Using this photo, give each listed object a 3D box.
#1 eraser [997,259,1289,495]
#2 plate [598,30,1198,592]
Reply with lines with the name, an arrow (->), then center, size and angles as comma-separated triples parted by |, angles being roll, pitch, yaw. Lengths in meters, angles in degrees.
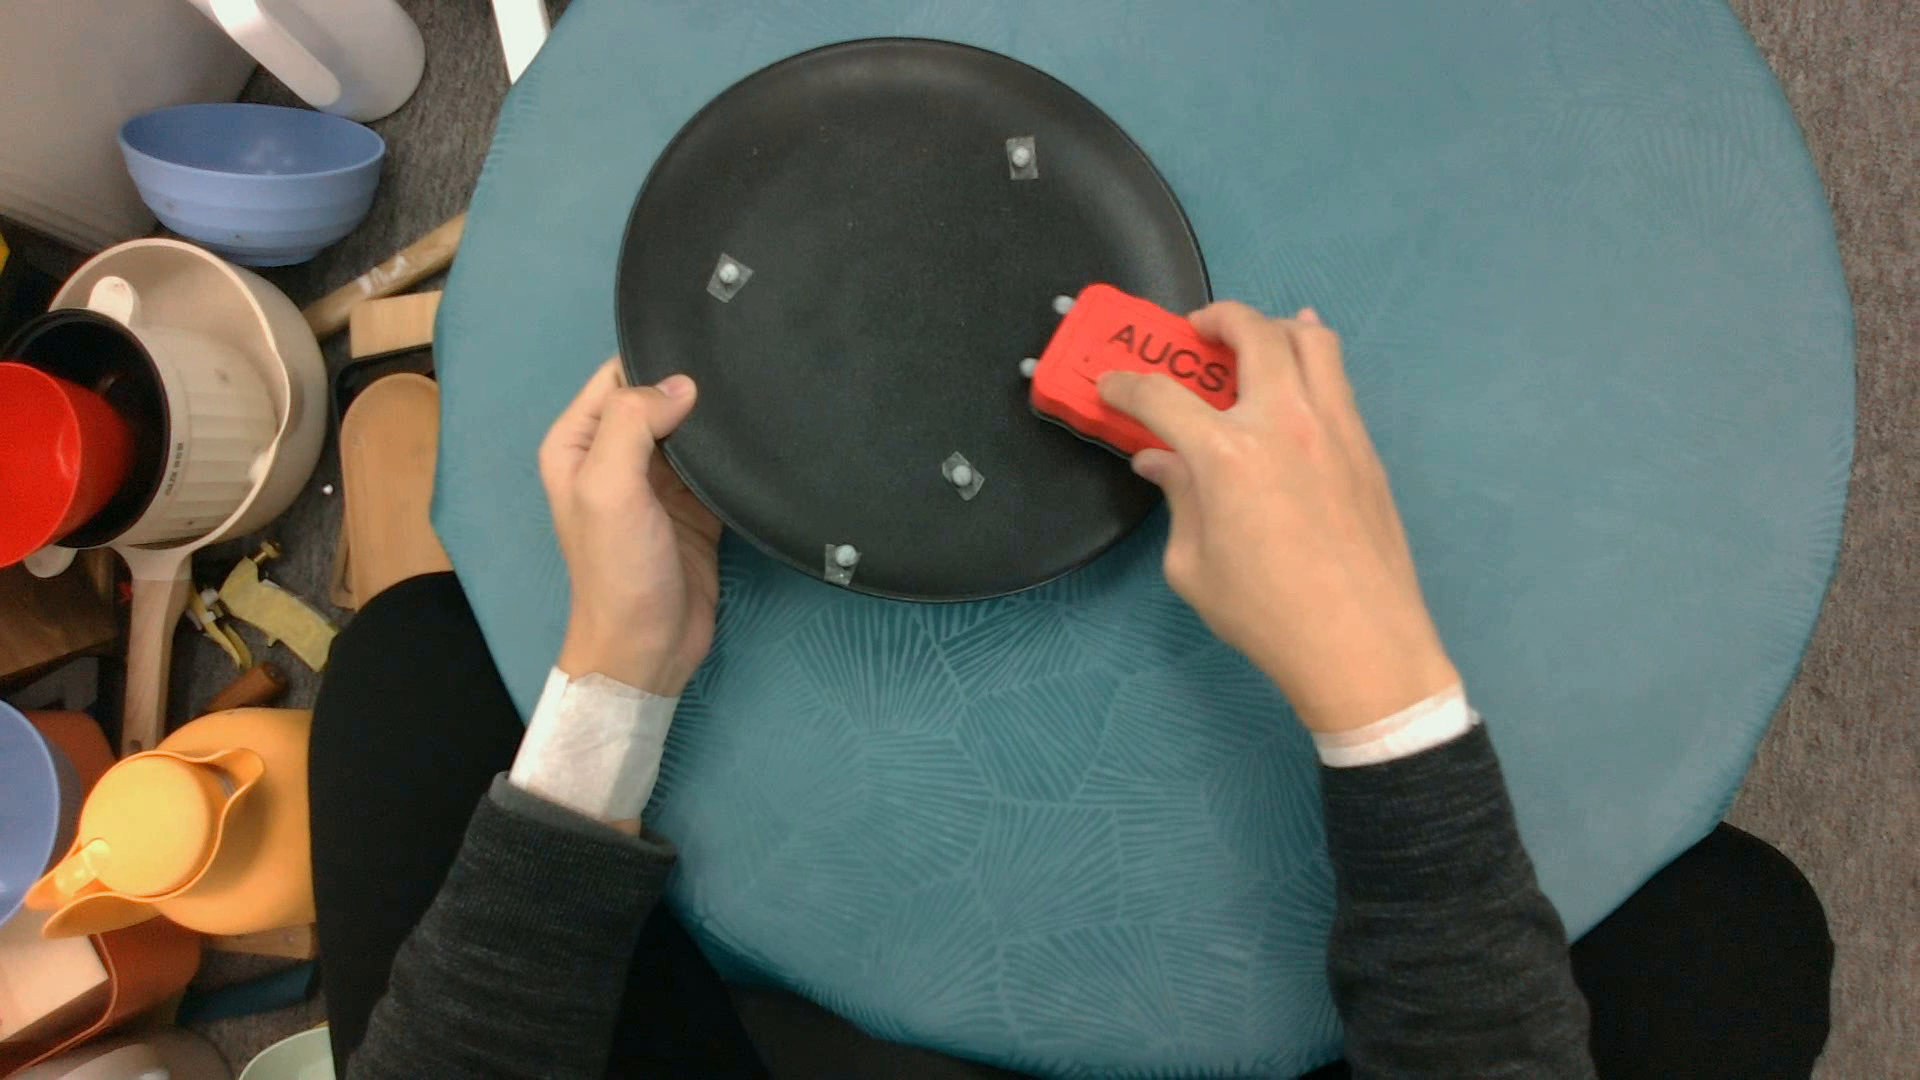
eraser -> 0.072, -0.065, 0.552 | 0.108, 0.023, 0.059 | 27, 79, 4
plate -> -0.021, -0.096, 0.561 | 0.244, 0.023, 0.245 | 3, 75, -11
